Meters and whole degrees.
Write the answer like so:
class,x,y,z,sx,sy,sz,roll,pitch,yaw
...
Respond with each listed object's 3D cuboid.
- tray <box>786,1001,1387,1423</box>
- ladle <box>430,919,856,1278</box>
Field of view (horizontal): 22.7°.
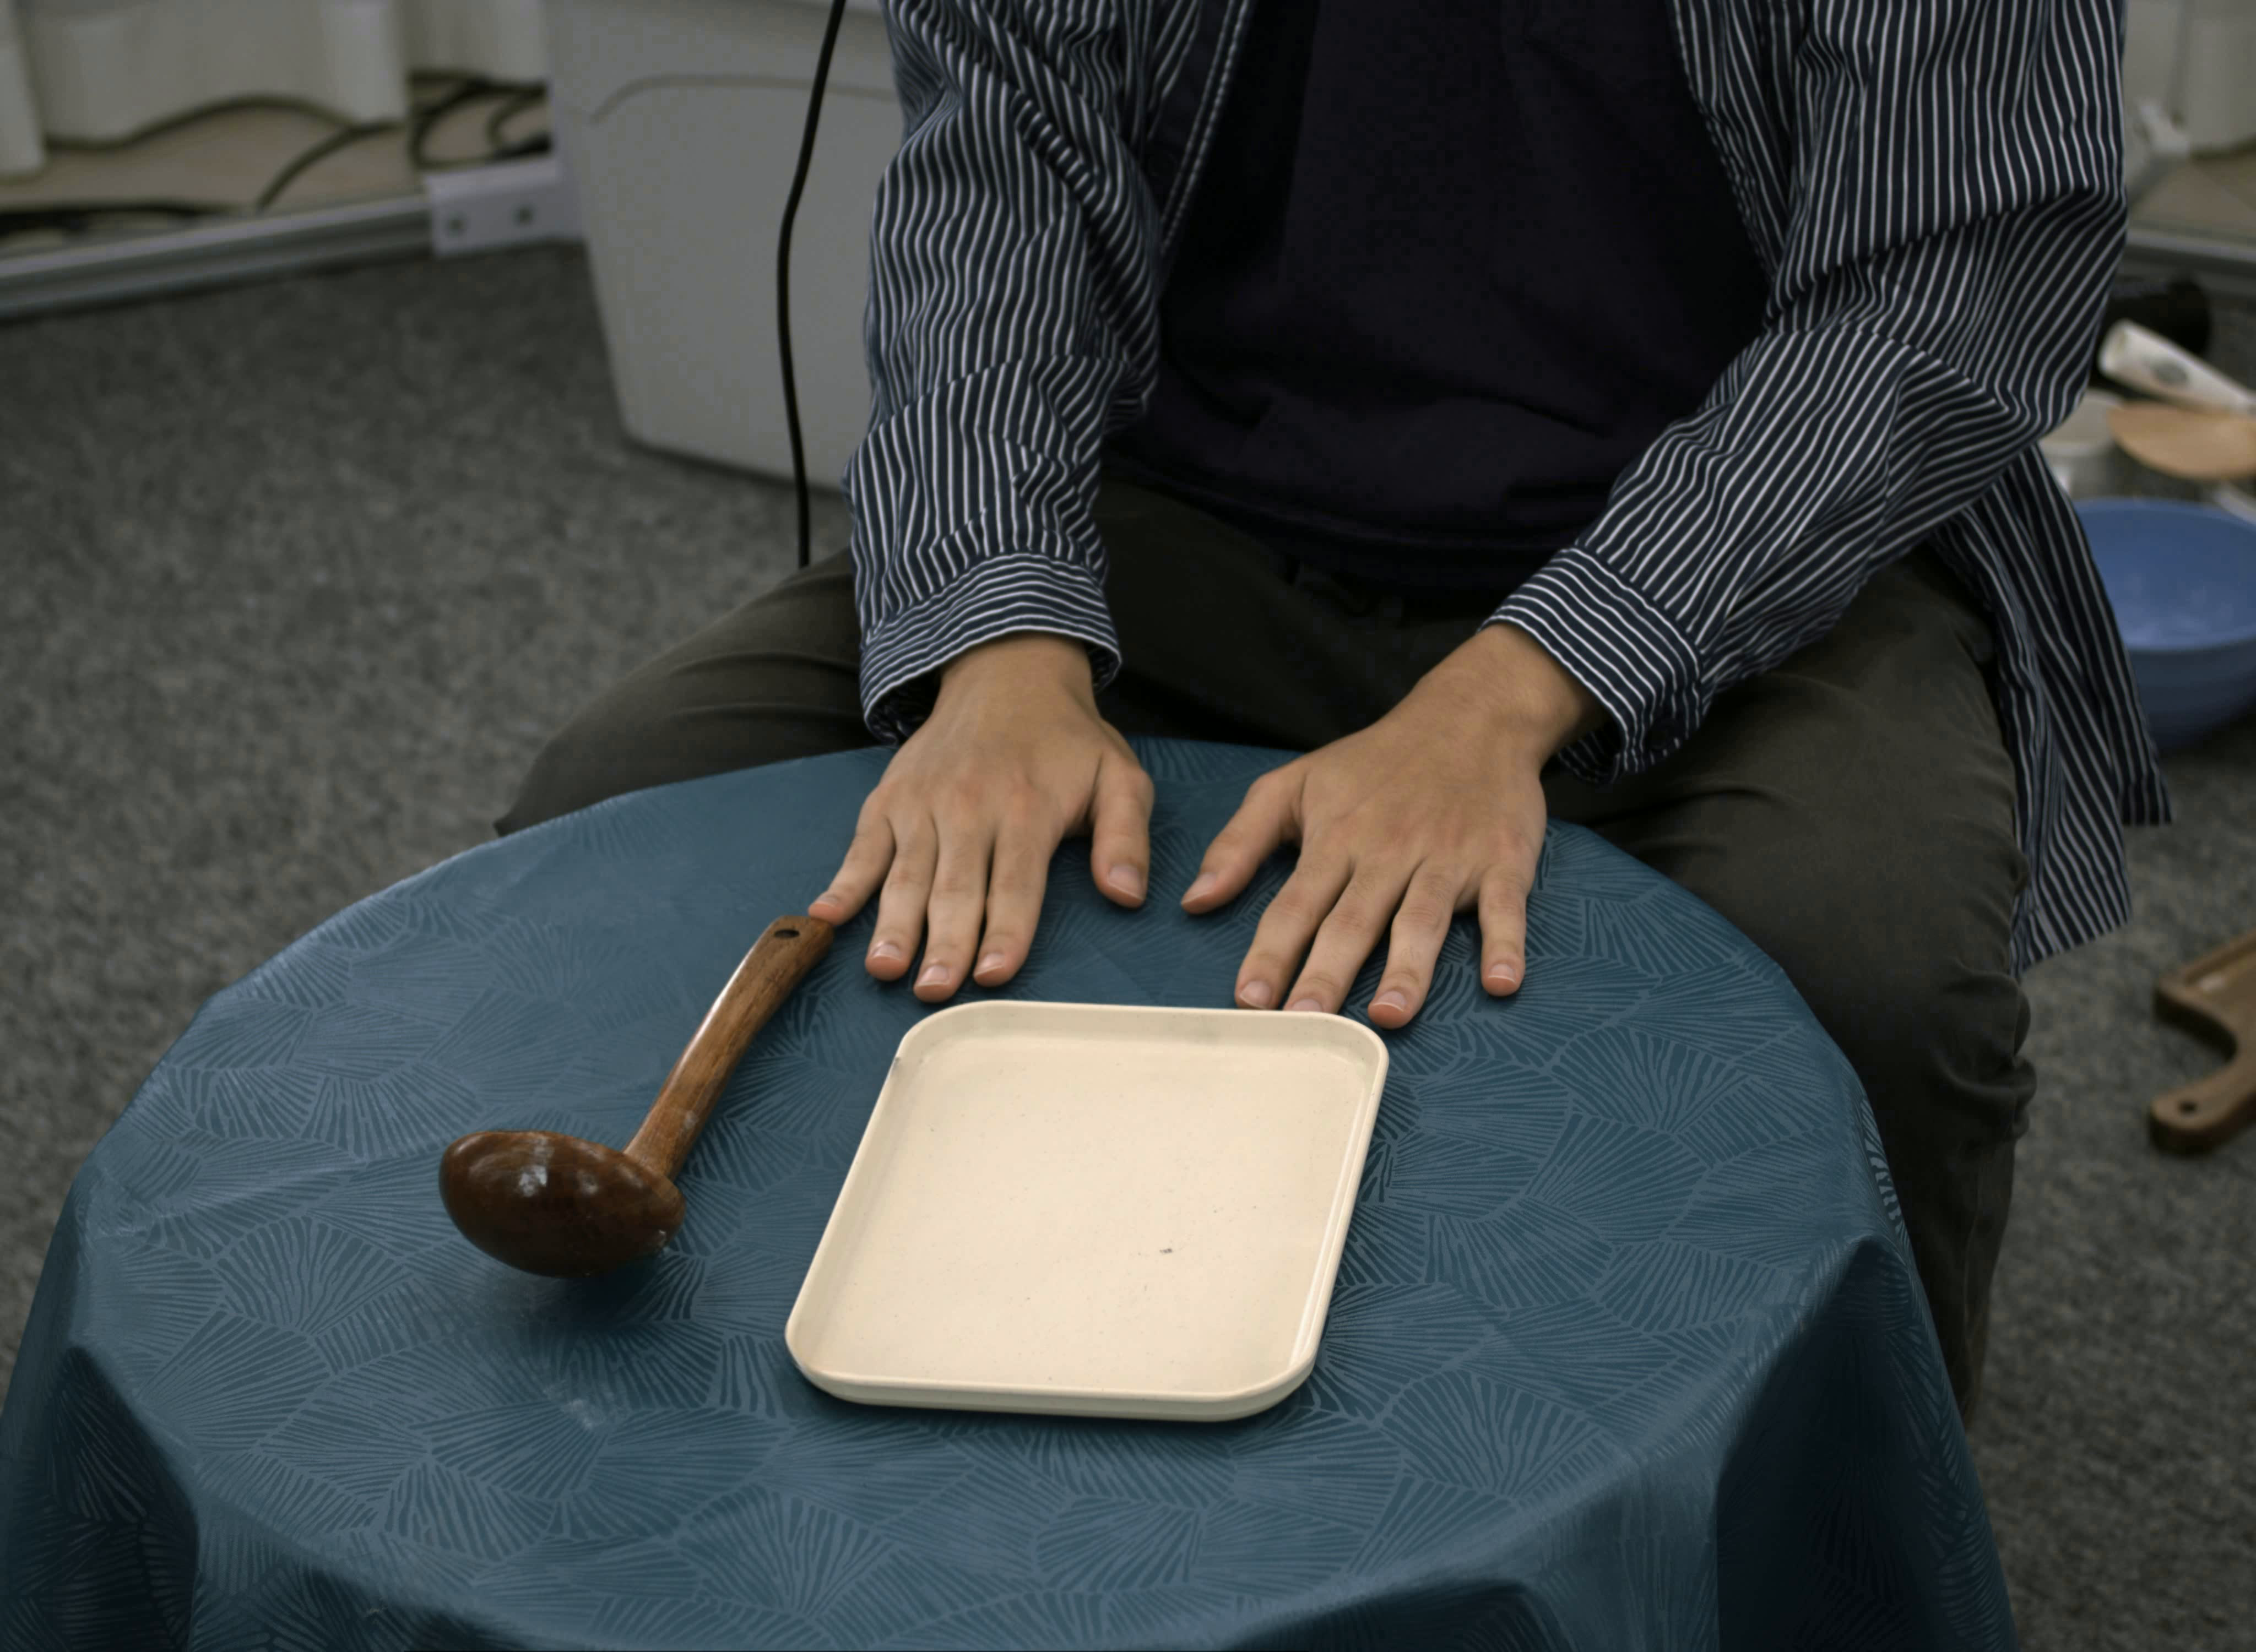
class,x,y,z,sx,sy,sz,roll,pitch,yaw
tray,-0.010,0.125,1.832,0.170,0.017,0.244,2,28,9
ladle,-0.152,0.071,1.886,0.081,0.076,0.279,9,29,15
